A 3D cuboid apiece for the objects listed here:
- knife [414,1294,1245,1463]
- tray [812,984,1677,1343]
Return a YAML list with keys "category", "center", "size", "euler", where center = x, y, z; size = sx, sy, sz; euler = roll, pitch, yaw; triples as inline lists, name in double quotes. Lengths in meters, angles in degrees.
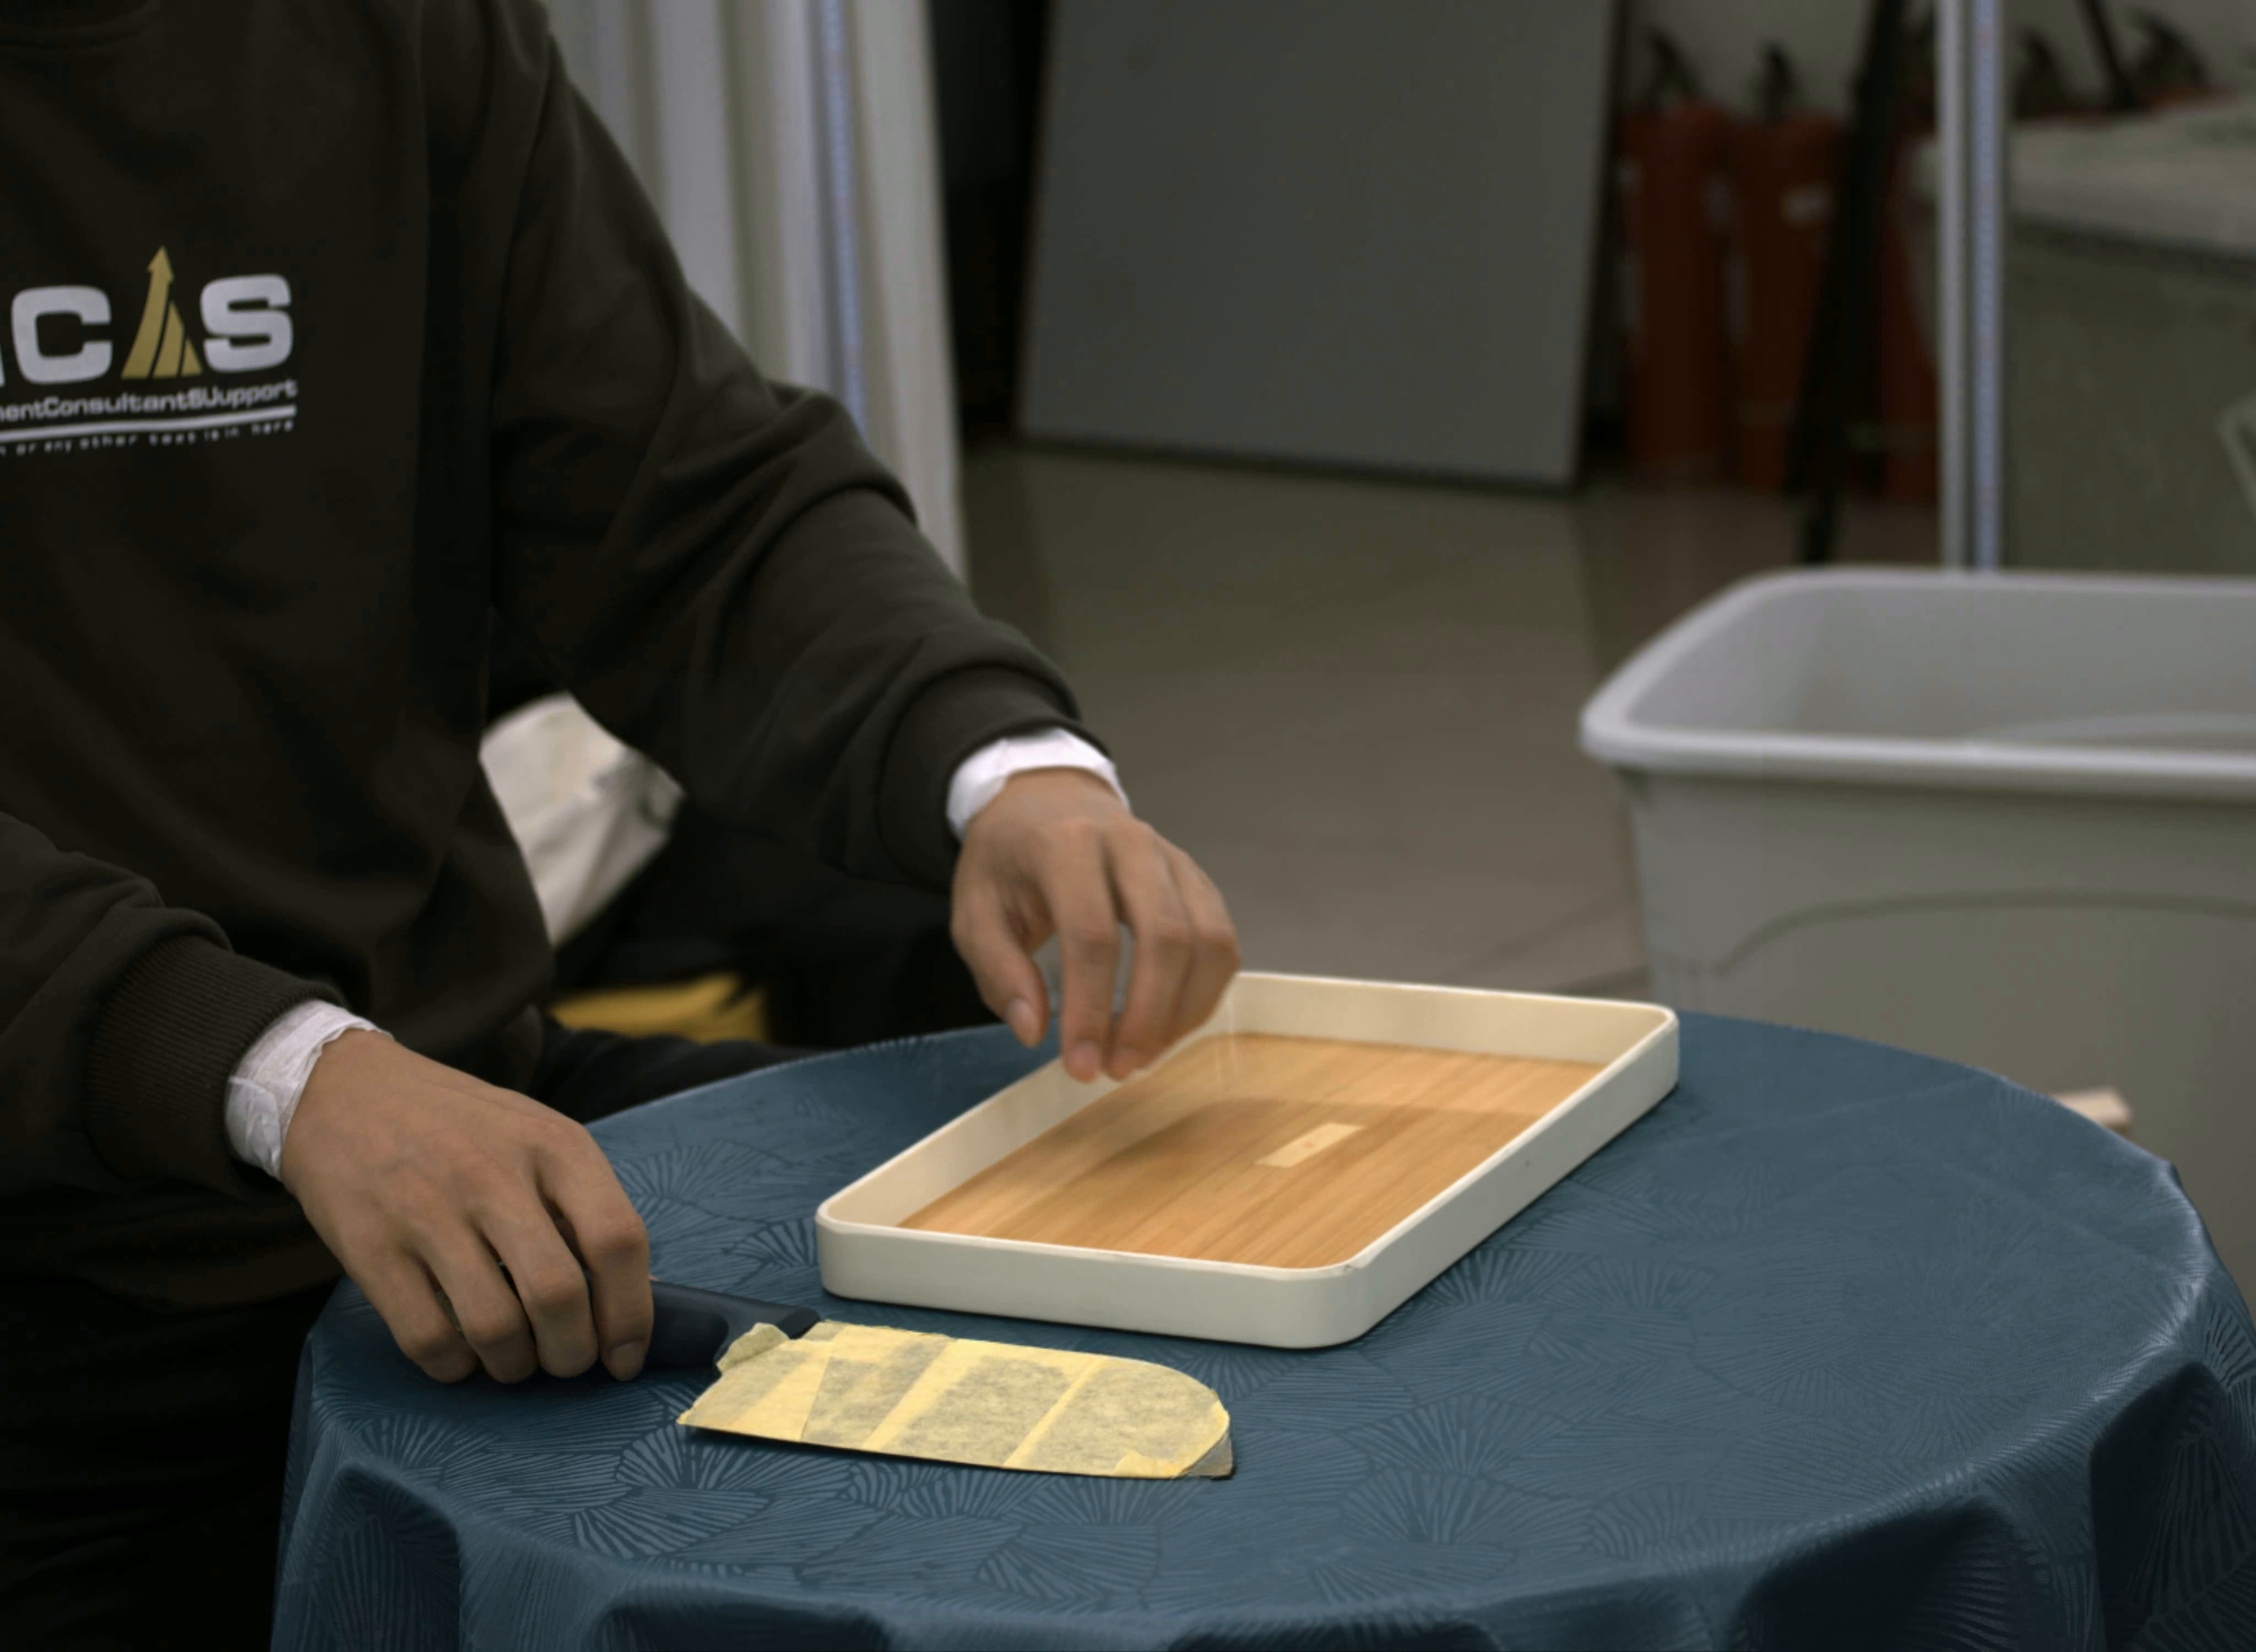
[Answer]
- category: "knife"
  center: [-0.095, 0.165, 1.593]
  size: [0.290, 0.027, 0.080]
  euler: [3, 18, 28]
- category: "tray"
  center: [0.045, 0.106, 1.768]
  size: [0.192, 0.028, 0.296]
  euler: [2, 14, 28]
